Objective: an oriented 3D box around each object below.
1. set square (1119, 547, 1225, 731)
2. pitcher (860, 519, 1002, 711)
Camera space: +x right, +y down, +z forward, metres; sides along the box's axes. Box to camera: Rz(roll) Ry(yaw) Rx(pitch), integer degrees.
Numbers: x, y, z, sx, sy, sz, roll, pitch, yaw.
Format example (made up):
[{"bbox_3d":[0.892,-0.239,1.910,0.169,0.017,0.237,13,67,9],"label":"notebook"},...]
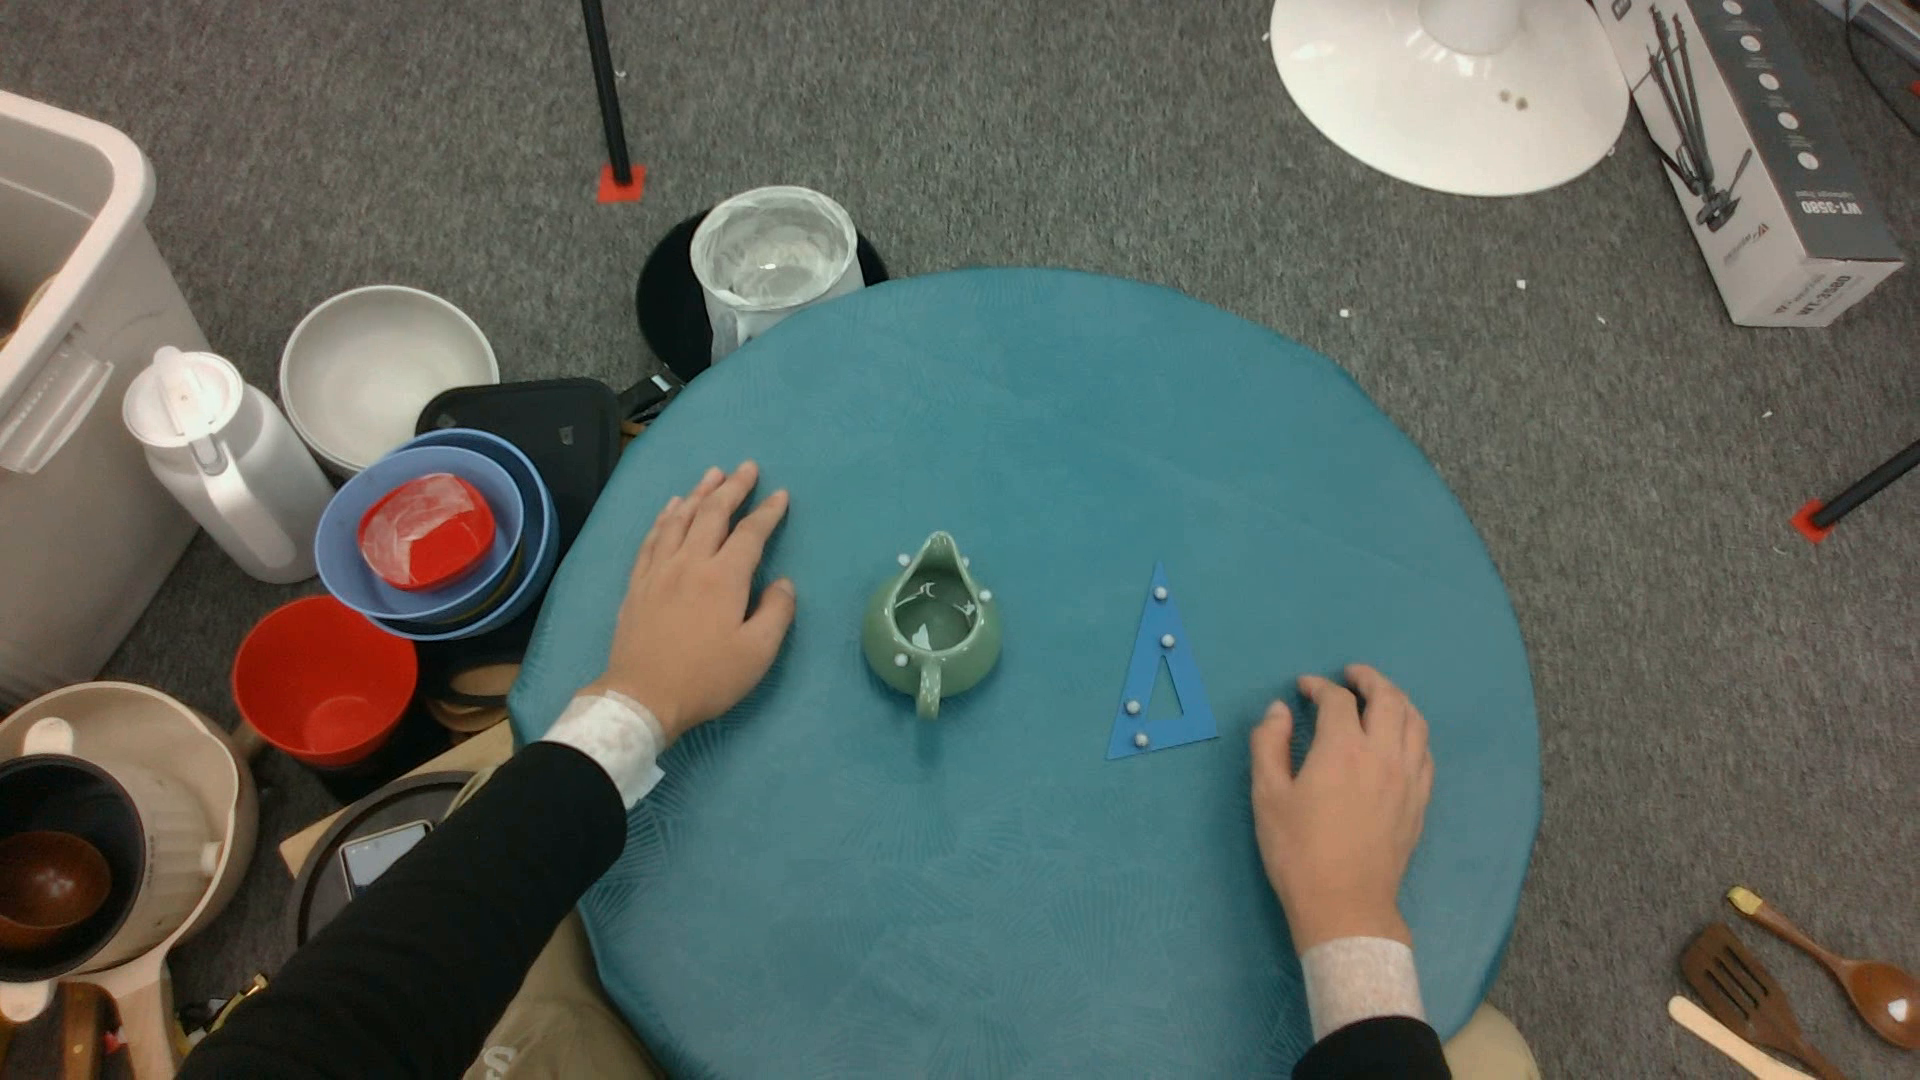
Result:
[{"bbox_3d":[0.141,0.066,0.836,0.061,0.006,0.132,19,63,6],"label":"set square"},{"bbox_3d":[-0.017,0.049,0.800,0.084,0.056,0.113,2,63,-2],"label":"pitcher"}]
